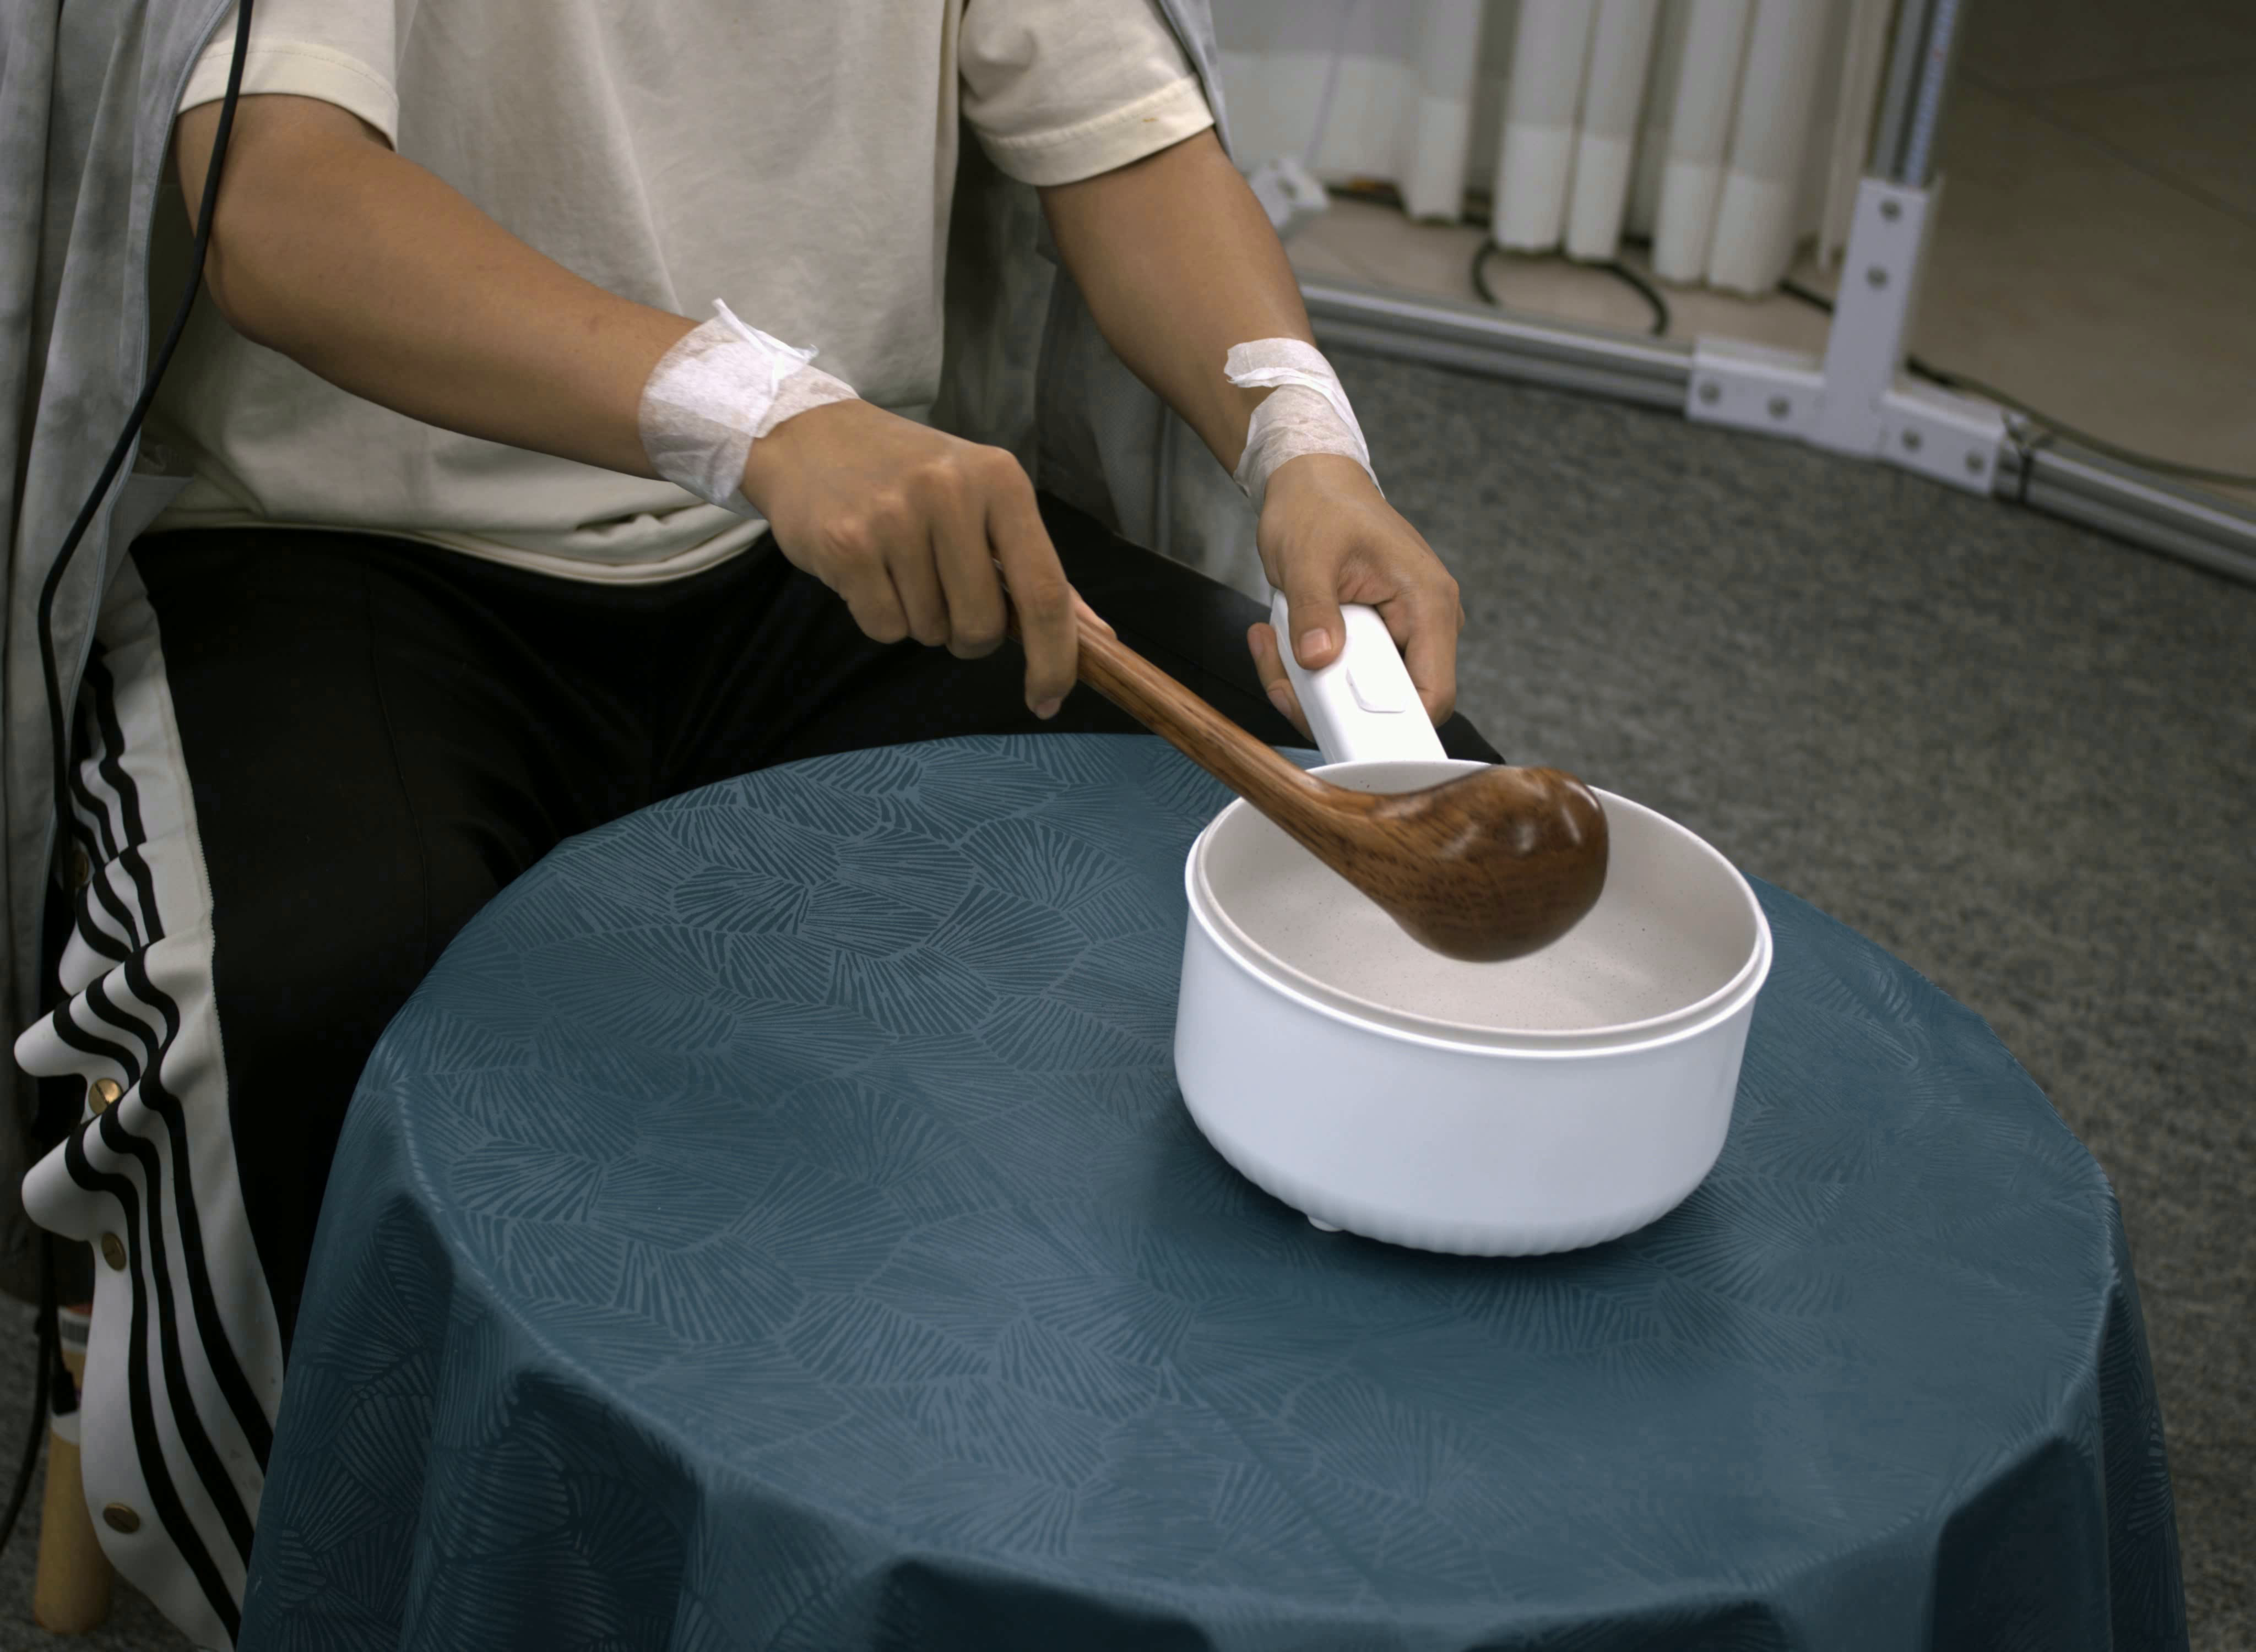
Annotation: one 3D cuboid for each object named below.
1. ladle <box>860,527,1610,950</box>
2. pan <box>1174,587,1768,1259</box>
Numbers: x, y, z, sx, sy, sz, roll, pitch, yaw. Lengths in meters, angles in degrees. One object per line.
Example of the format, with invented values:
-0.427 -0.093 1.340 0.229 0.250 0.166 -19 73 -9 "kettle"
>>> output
0.038 -0.044 1.818 0.275 0.082 0.076 31 31 21 "ladle"
0.101 0.032 1.900 0.200 0.102 0.357 0 27 -11 "pan"
